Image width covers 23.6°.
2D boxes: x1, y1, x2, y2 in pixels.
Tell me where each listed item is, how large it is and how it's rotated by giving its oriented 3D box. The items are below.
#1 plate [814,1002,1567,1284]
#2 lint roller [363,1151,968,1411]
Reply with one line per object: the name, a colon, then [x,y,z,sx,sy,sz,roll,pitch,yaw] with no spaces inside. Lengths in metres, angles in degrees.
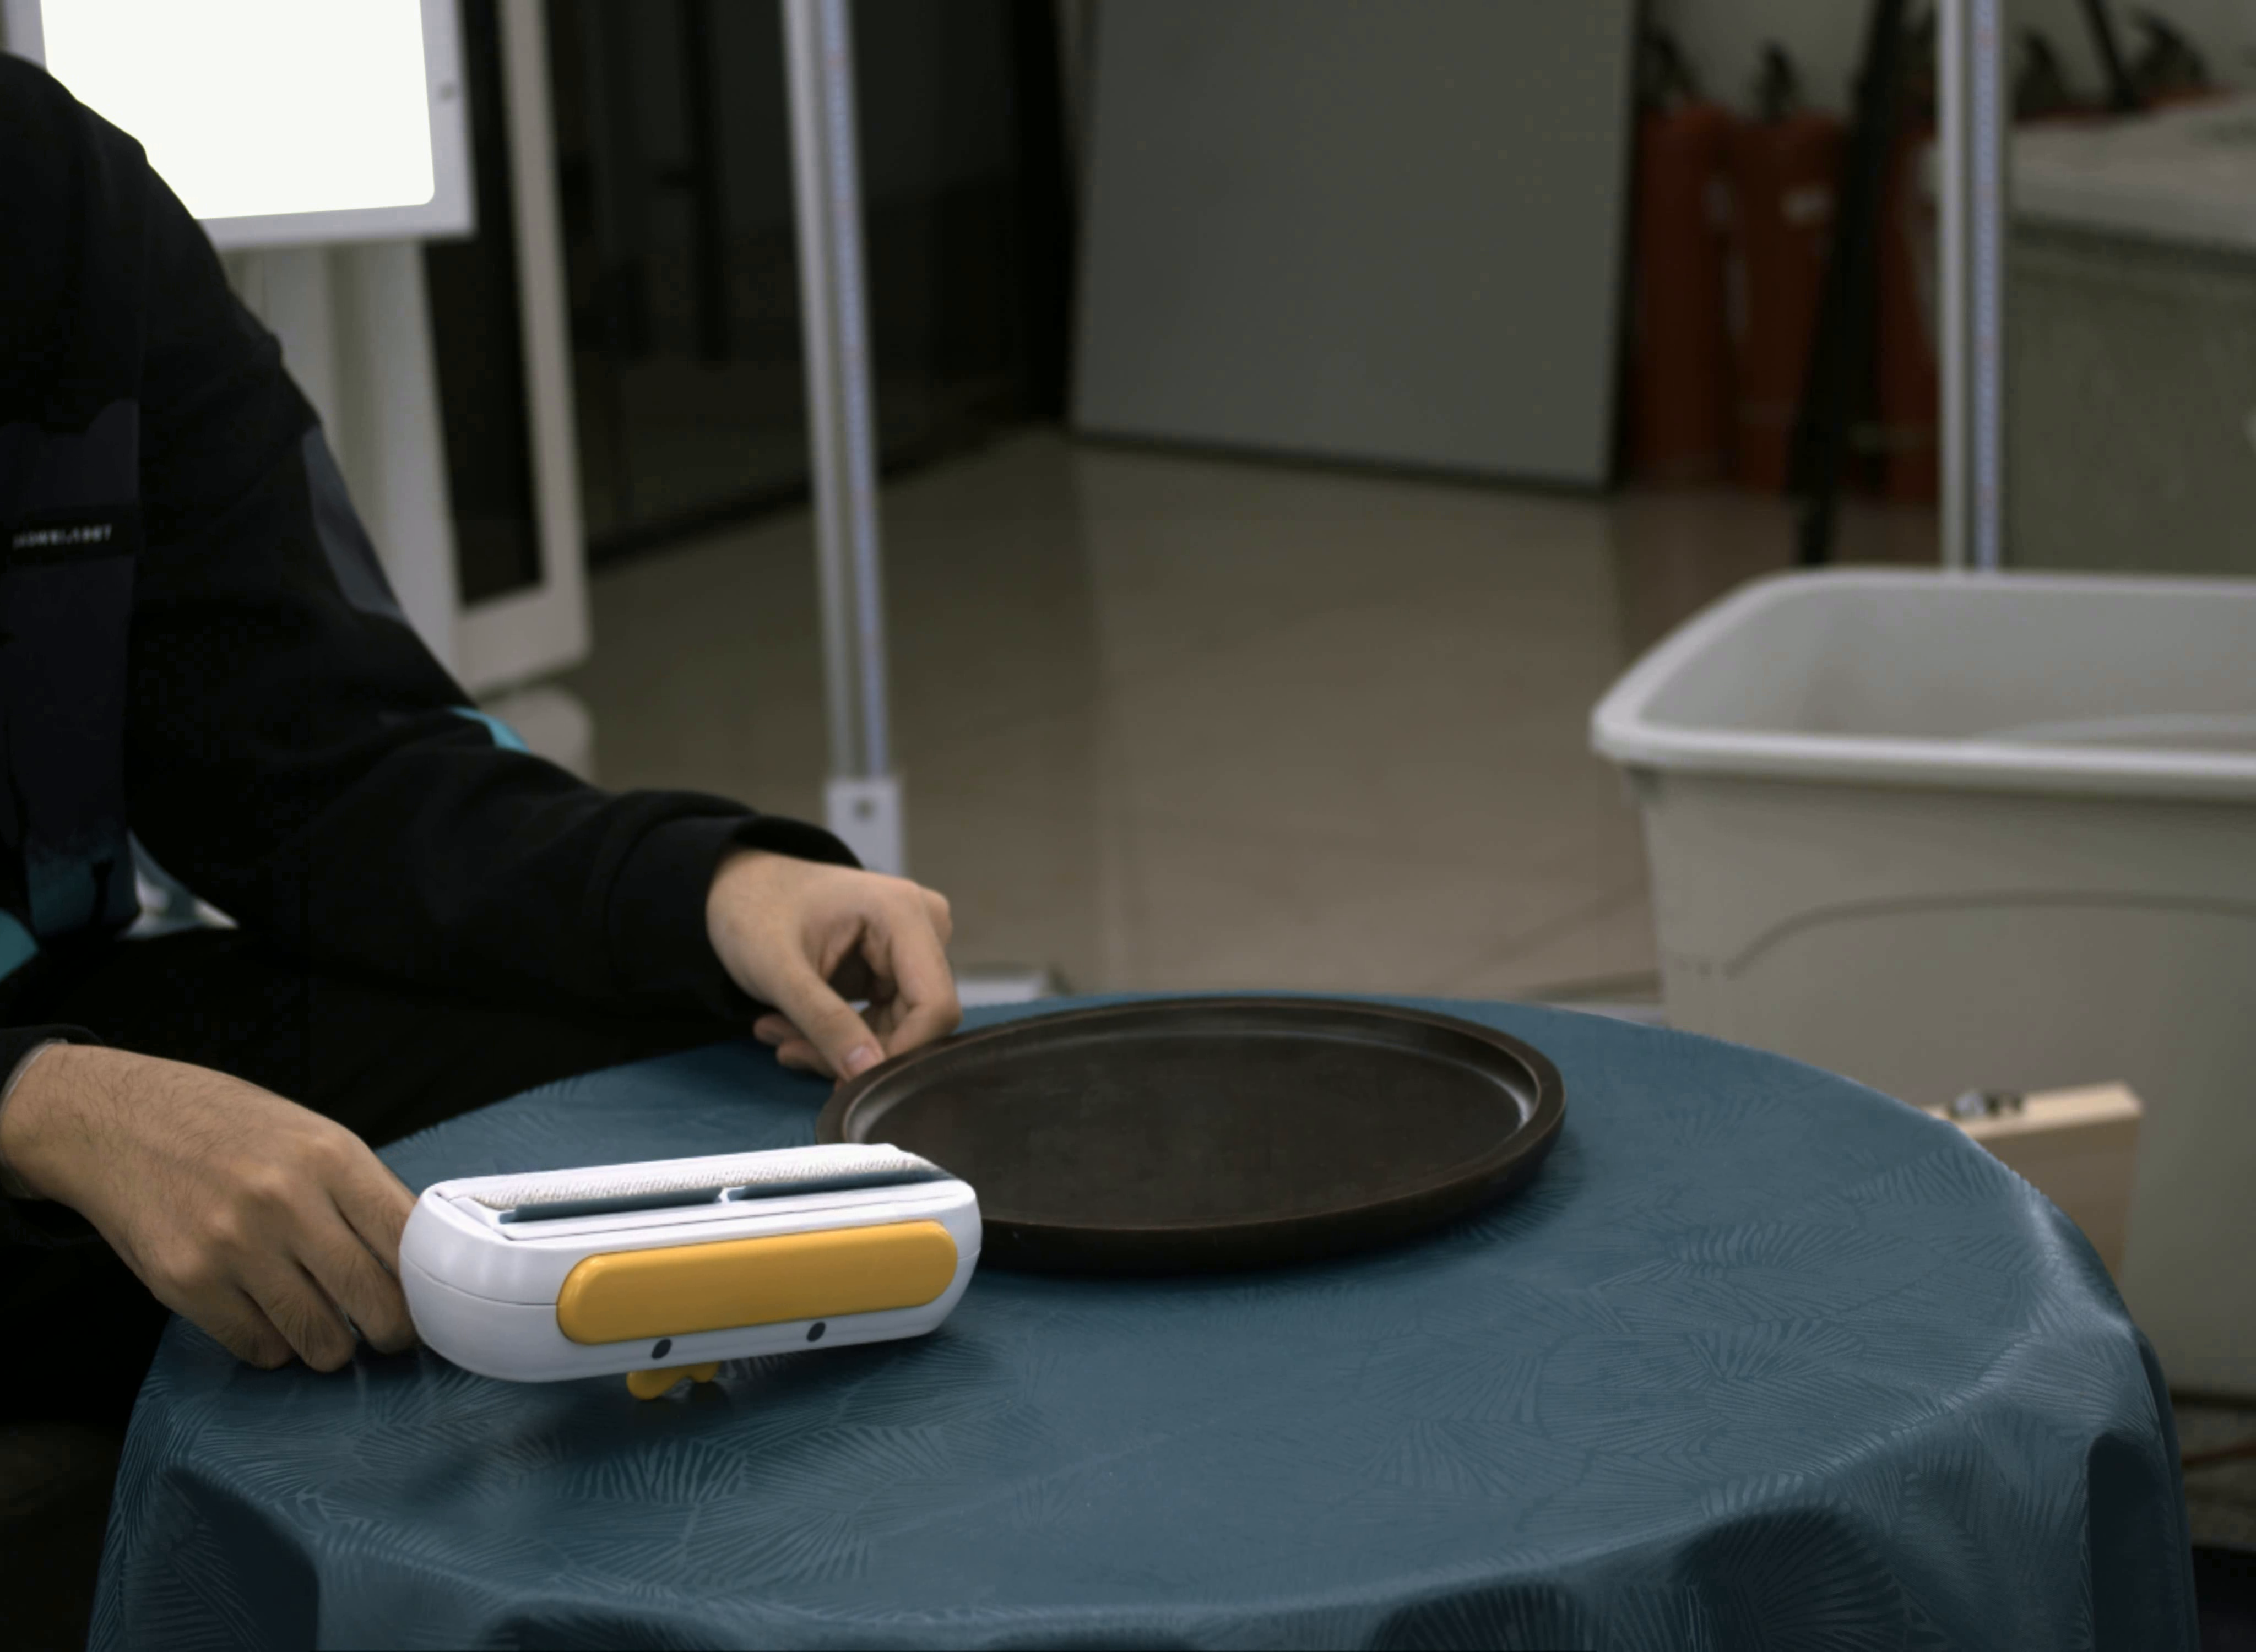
plate: [0.021,0.103,1.790,0.251,0.029,0.255,-5,13,0]
lint roller: [-0.168,0.129,1.649,0.188,0.075,0.194,-7,11,-35]
